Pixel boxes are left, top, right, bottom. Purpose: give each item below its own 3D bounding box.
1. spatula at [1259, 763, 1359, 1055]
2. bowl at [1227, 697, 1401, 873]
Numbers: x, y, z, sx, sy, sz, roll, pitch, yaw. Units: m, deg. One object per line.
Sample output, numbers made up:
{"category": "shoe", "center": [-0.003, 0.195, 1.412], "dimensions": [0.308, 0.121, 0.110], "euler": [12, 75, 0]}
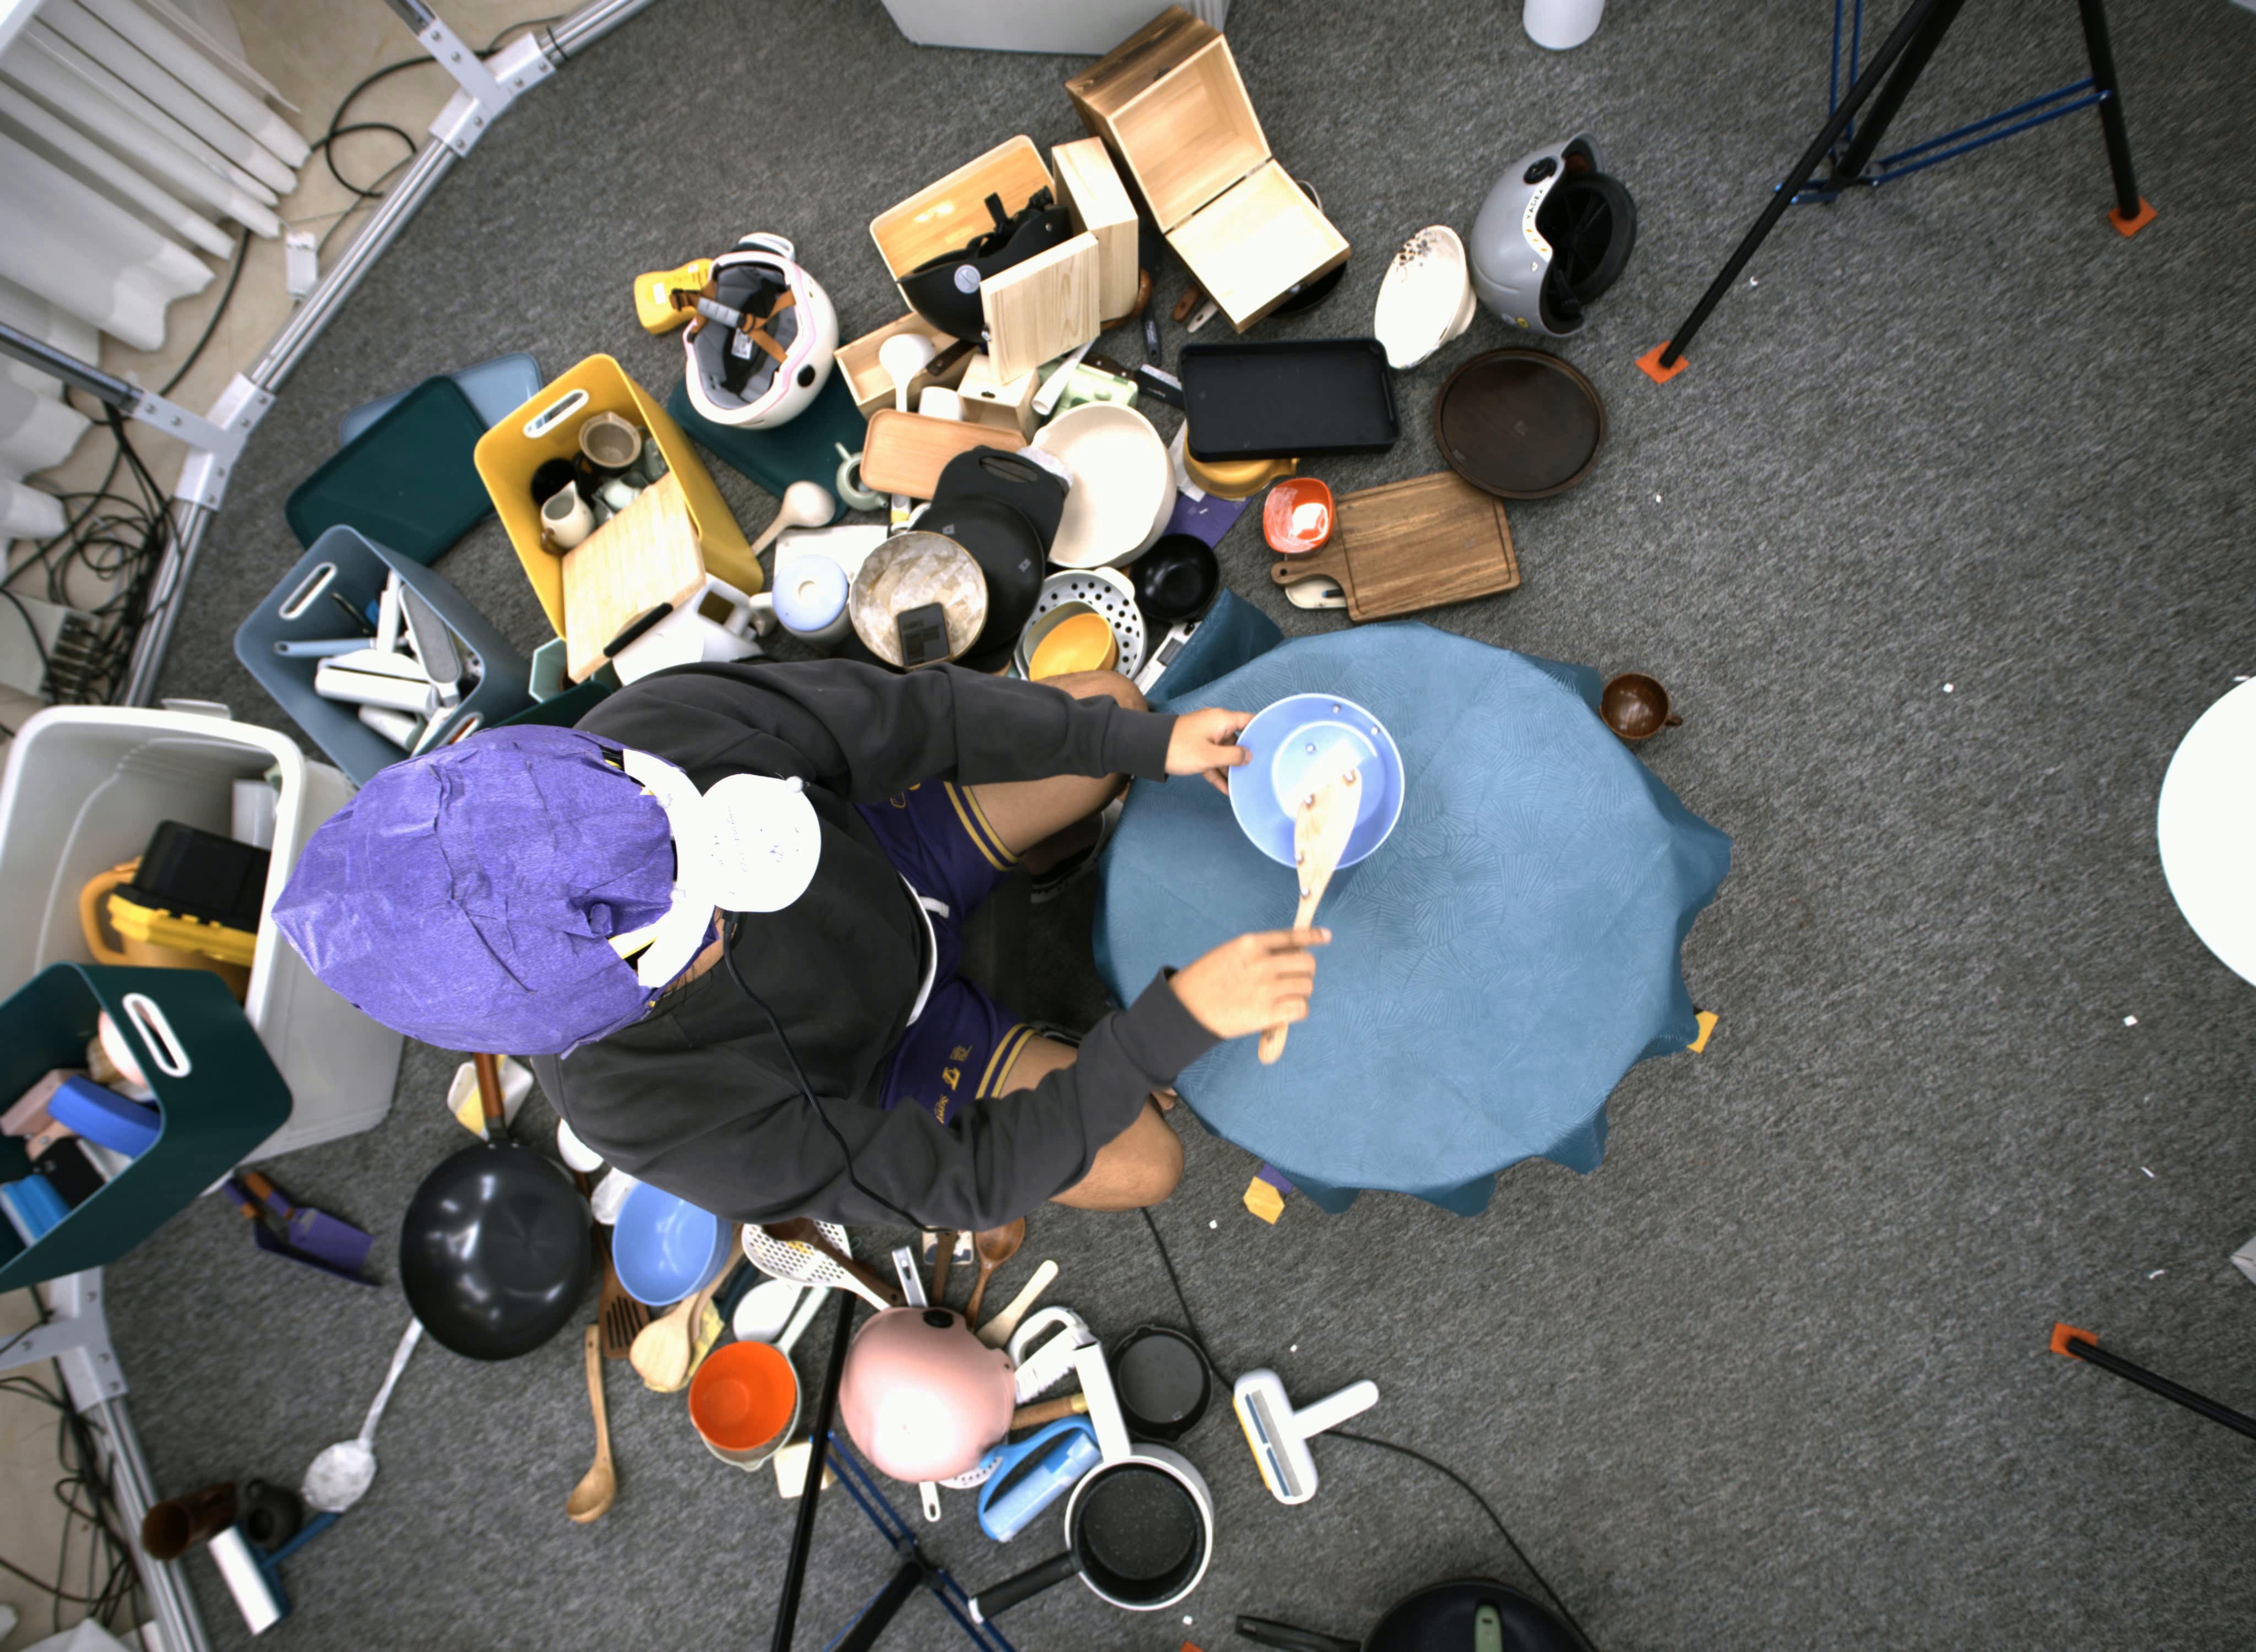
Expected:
{"category": "spatula", "center": [0.158, 0.071, 1.264], "dimensions": [0.016, 0.319, 0.081], "euler": [41, 137, -24]}
{"category": "bowl", "center": [0.191, -0.045, 1.382], "dimensions": [0.177, 0.069, 0.178], "euler": [5, 103, 20]}
